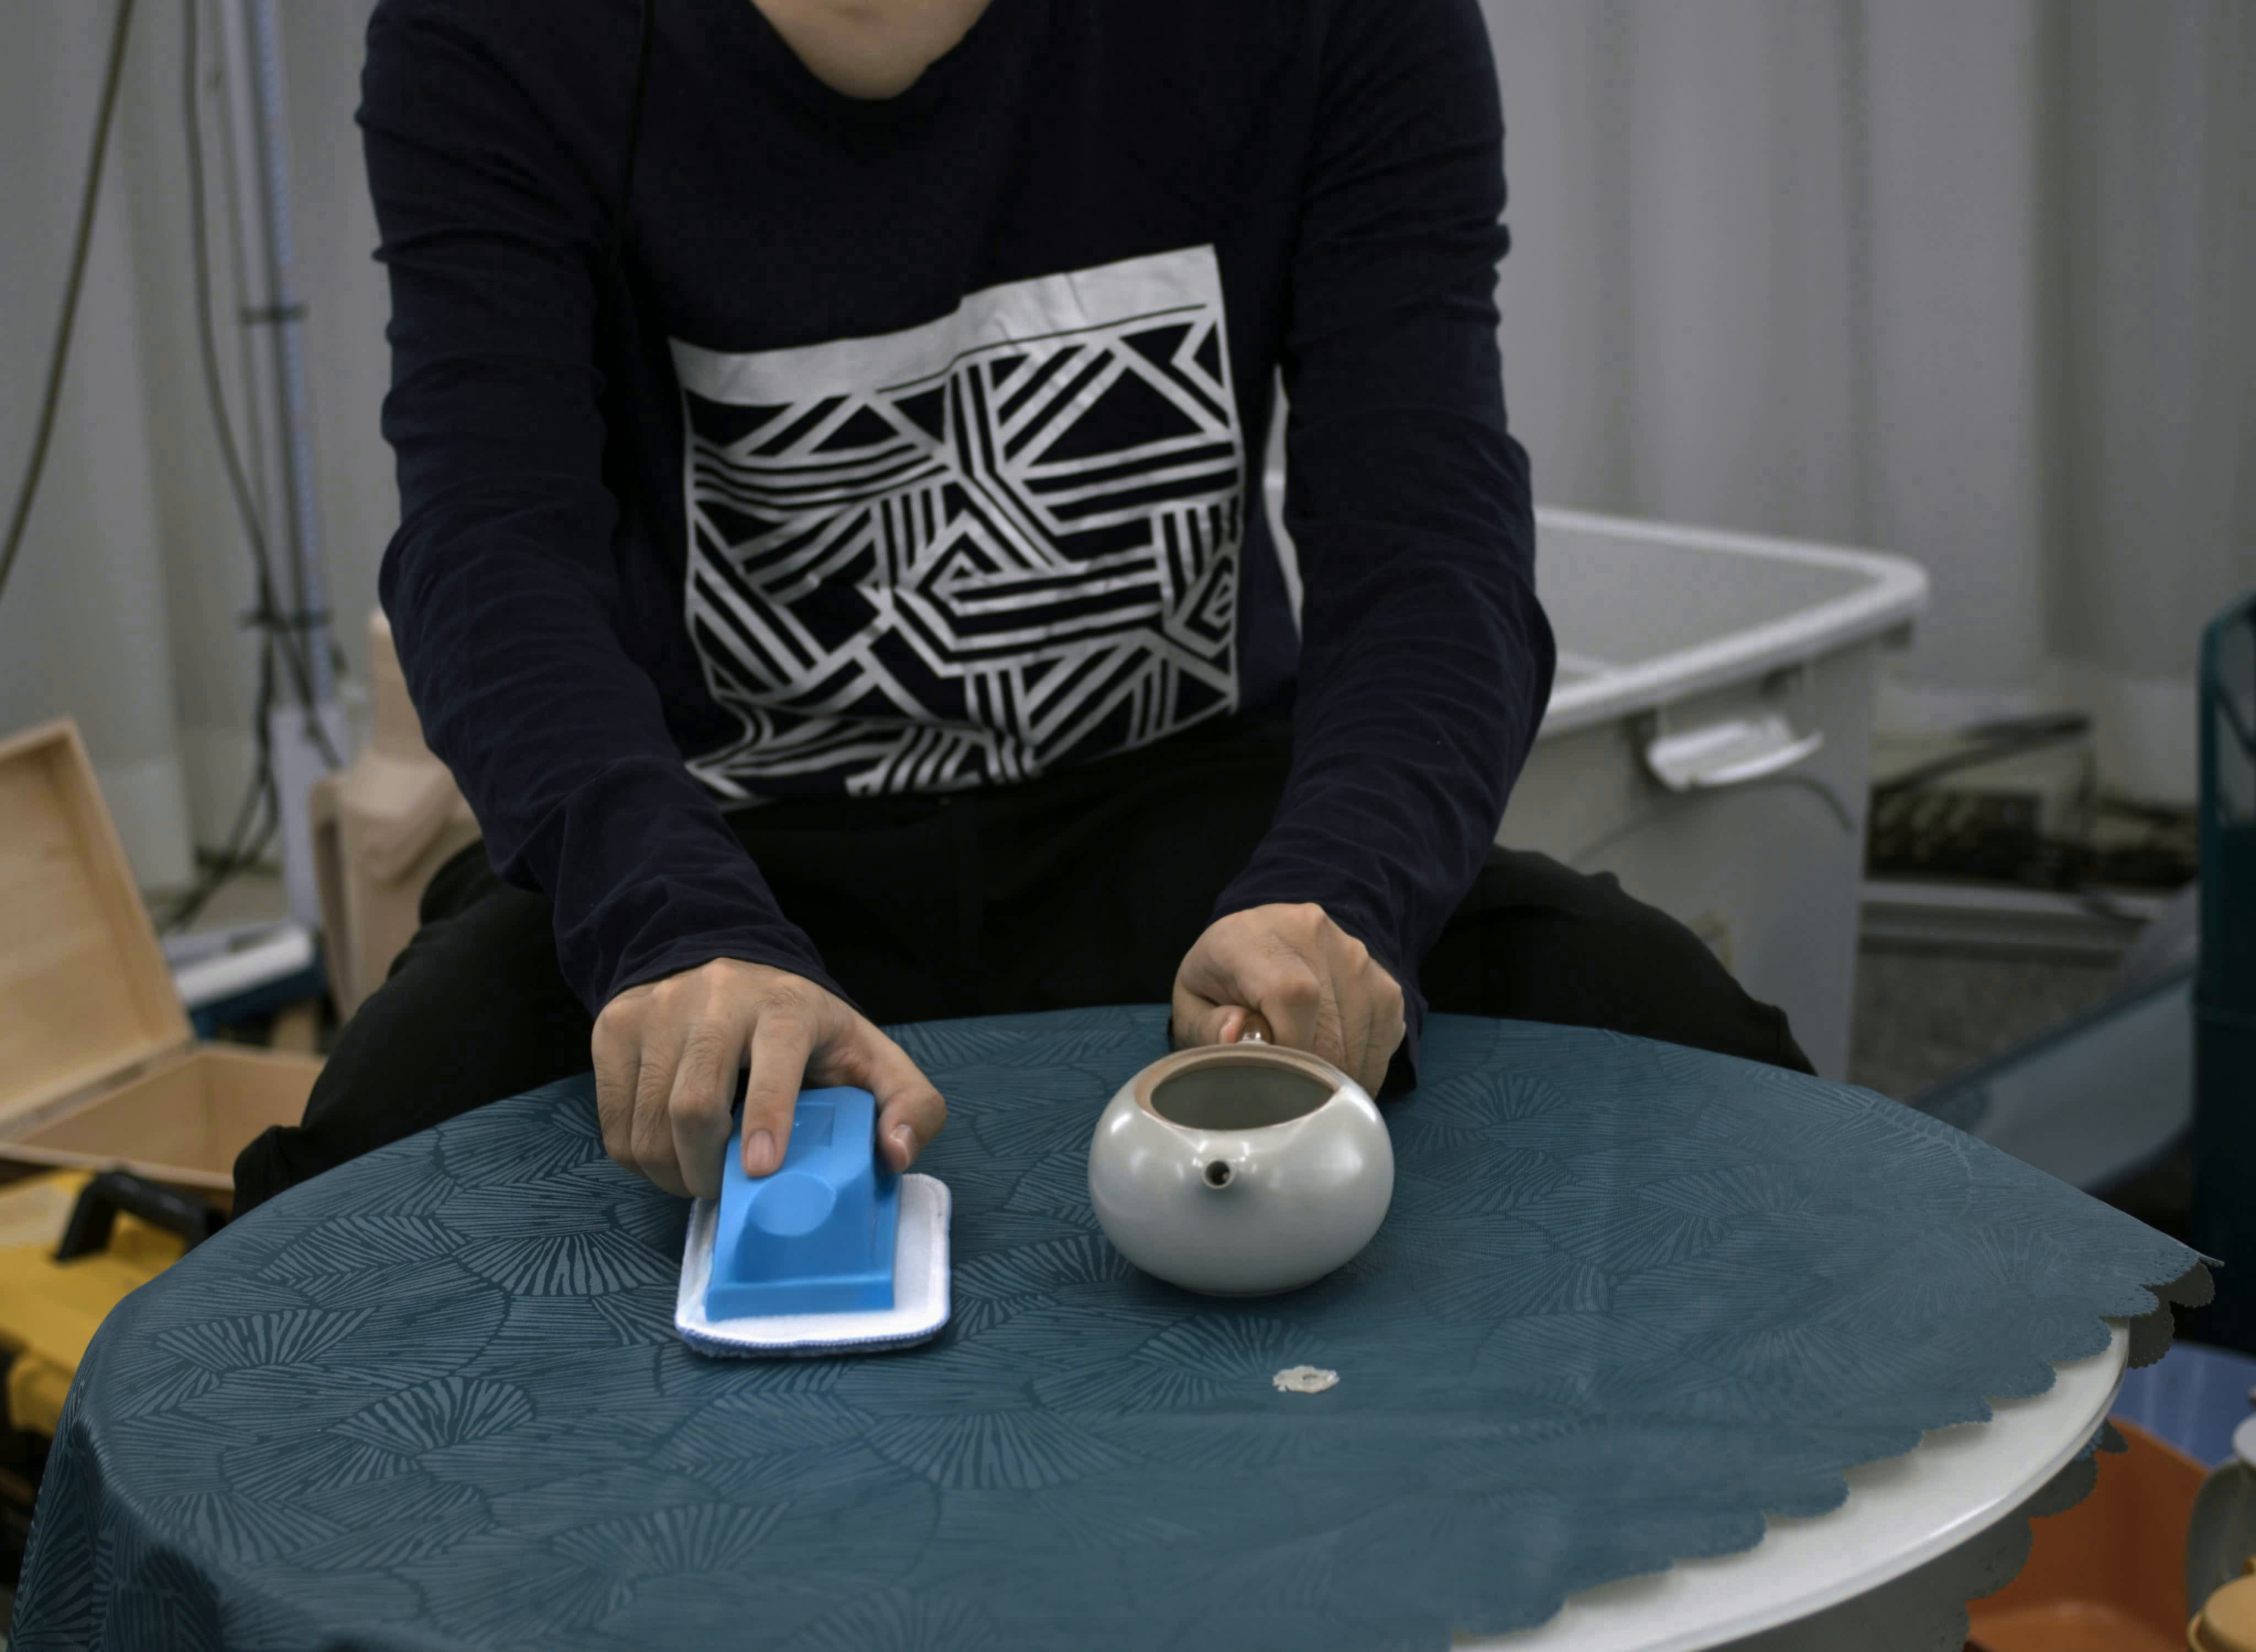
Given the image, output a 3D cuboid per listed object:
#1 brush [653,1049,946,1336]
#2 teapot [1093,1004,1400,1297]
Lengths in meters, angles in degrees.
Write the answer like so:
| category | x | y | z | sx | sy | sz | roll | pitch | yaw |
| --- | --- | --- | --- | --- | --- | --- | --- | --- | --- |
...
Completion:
| category | x | y | z | sx | sy | sz | roll | pitch | yaw |
| --- | --- | --- | --- | --- | --- | --- | --- | --- | --- |
| brush | -0.098 | 0.107 | 1.646 | 0.083 | 0.055 | 0.145 | 0 | 17 | 0 |
| teapot | 0.036 | 0.098 | 1.638 | 0.091 | 0.059 | 0.129 | -3 | 24 | 7 |
